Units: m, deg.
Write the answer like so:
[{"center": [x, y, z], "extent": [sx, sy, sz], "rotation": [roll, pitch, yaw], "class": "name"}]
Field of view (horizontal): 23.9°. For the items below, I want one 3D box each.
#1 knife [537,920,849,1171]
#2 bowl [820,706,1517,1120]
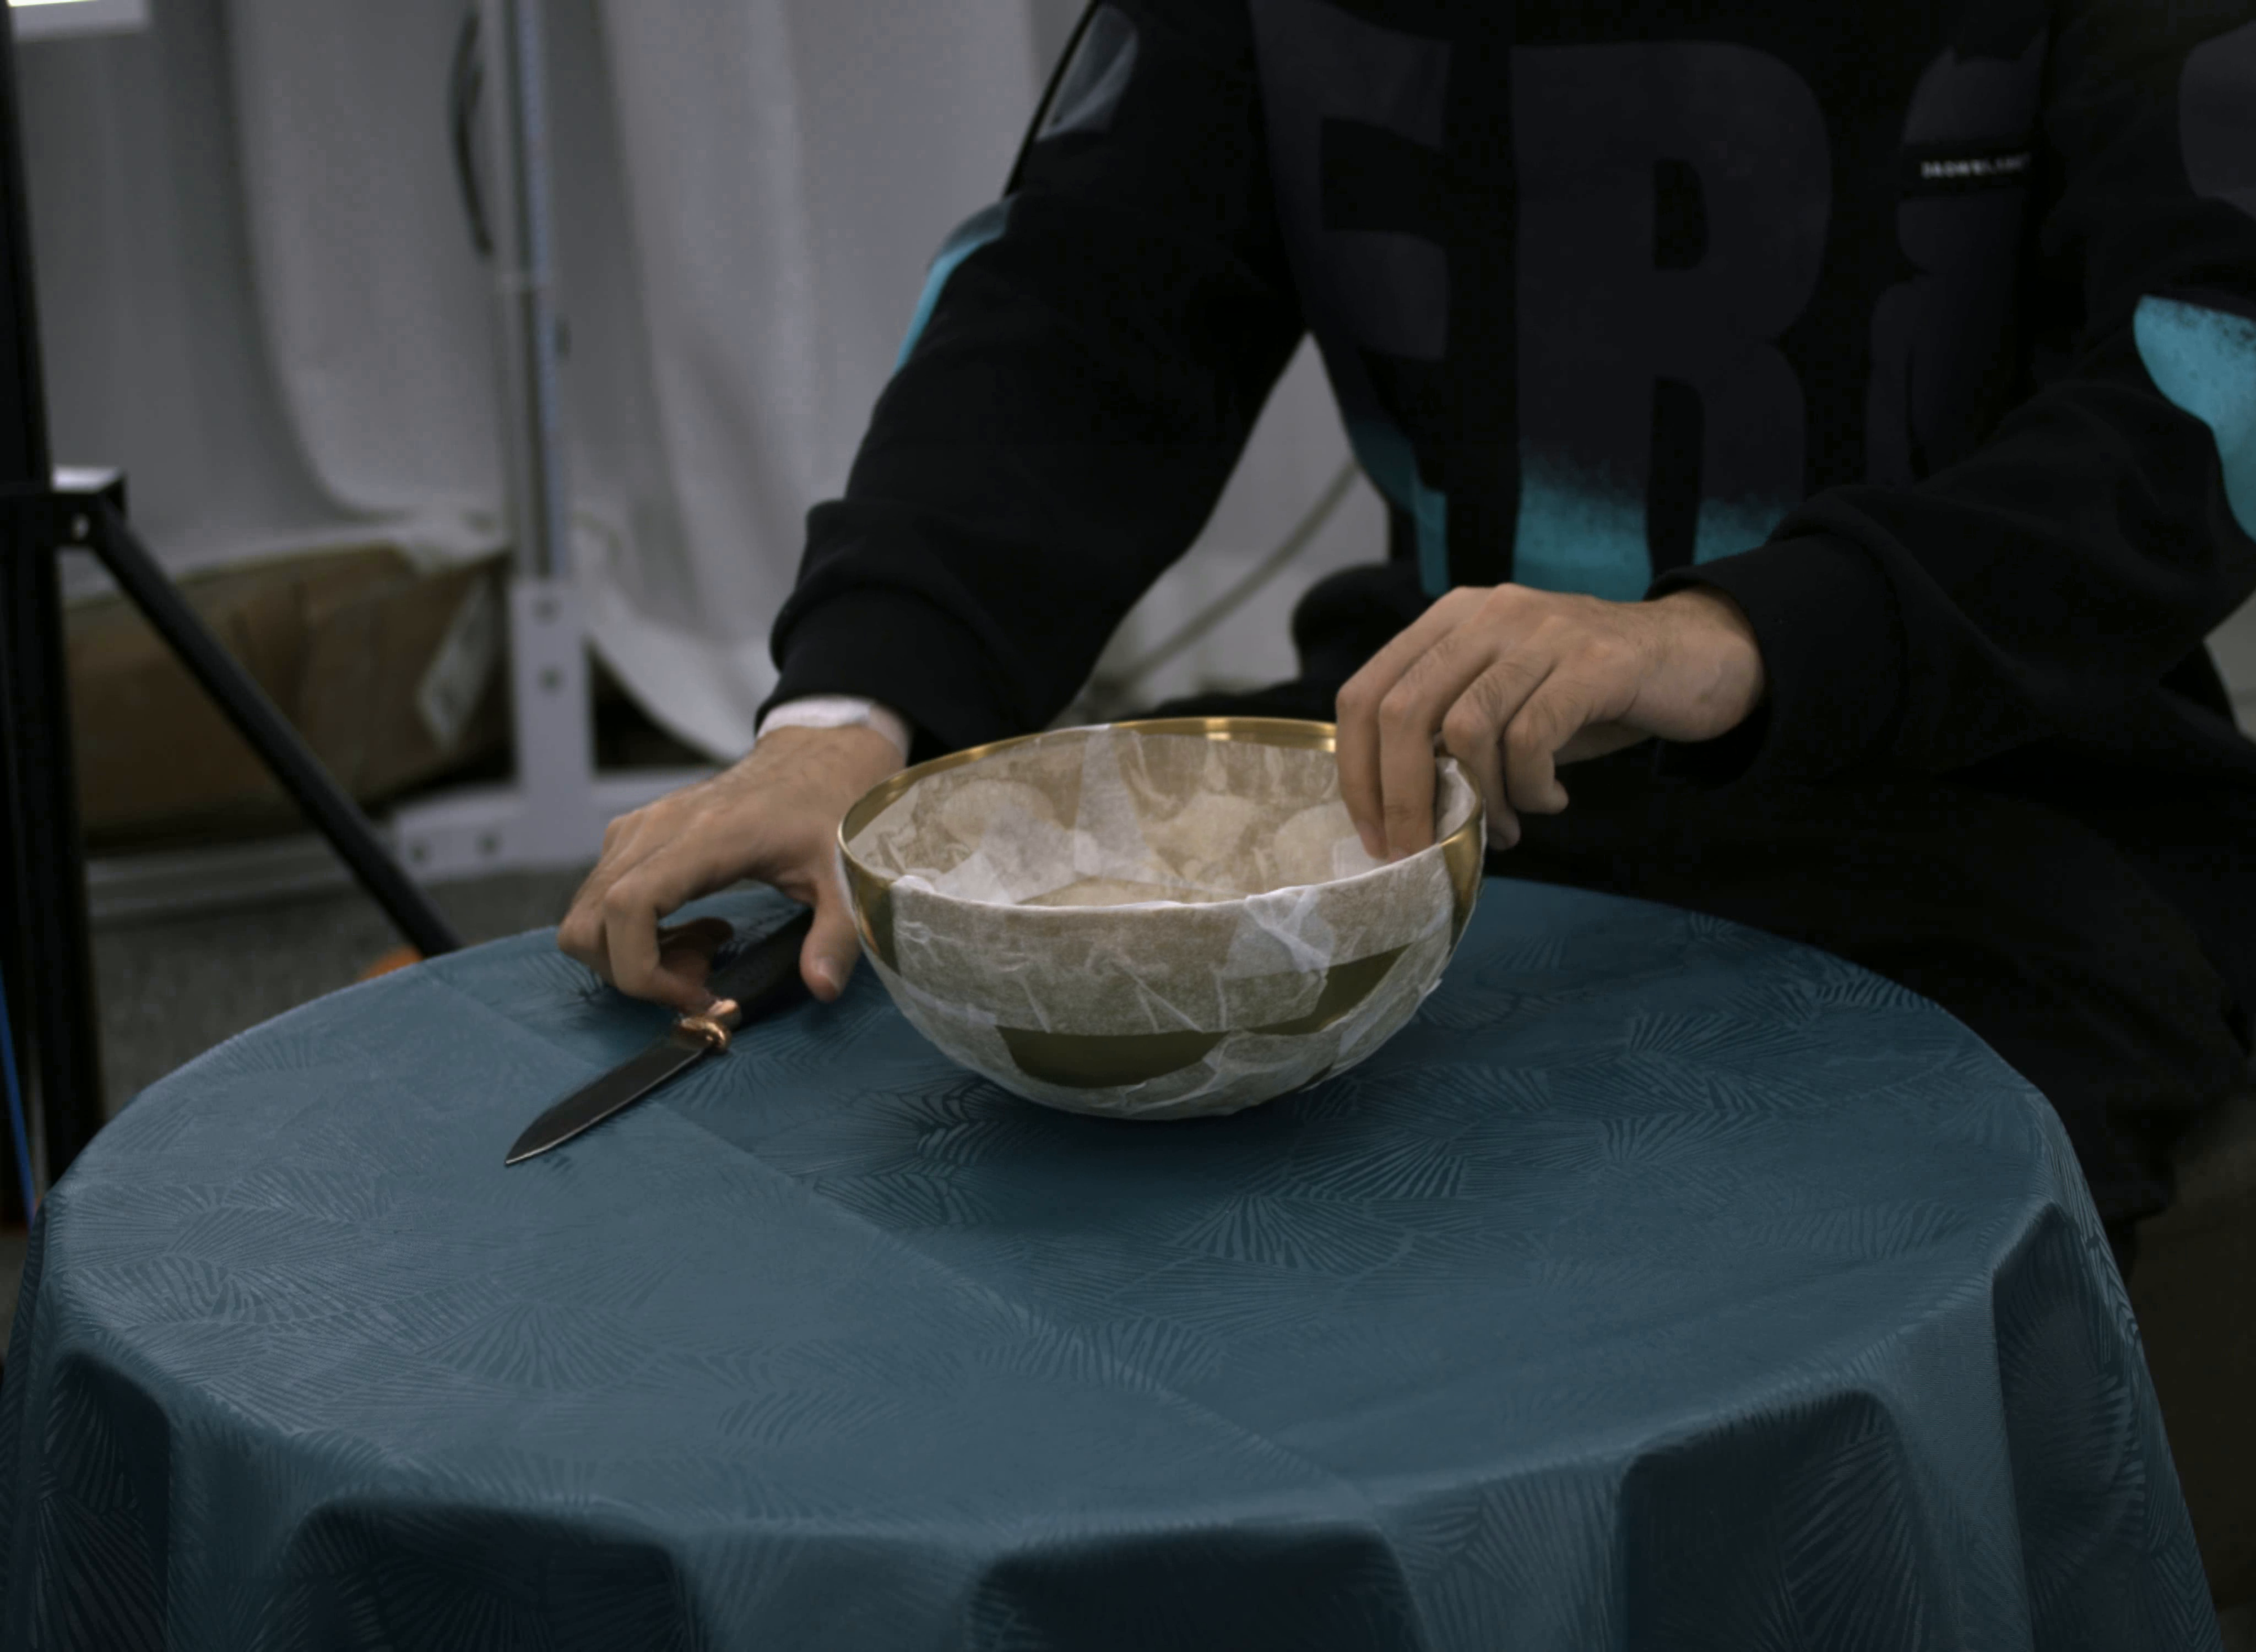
[{"center": [-0.140, 0.069, 1.700], "extent": [0.026, 0.017, 0.222], "rotation": [12, 21, 19], "class": "knife"}, {"center": [0.014, 0.035, 1.636], "extent": [0.214, 0.094, 0.216], "rotation": [-5, 16, 0], "class": "bowl"}]
